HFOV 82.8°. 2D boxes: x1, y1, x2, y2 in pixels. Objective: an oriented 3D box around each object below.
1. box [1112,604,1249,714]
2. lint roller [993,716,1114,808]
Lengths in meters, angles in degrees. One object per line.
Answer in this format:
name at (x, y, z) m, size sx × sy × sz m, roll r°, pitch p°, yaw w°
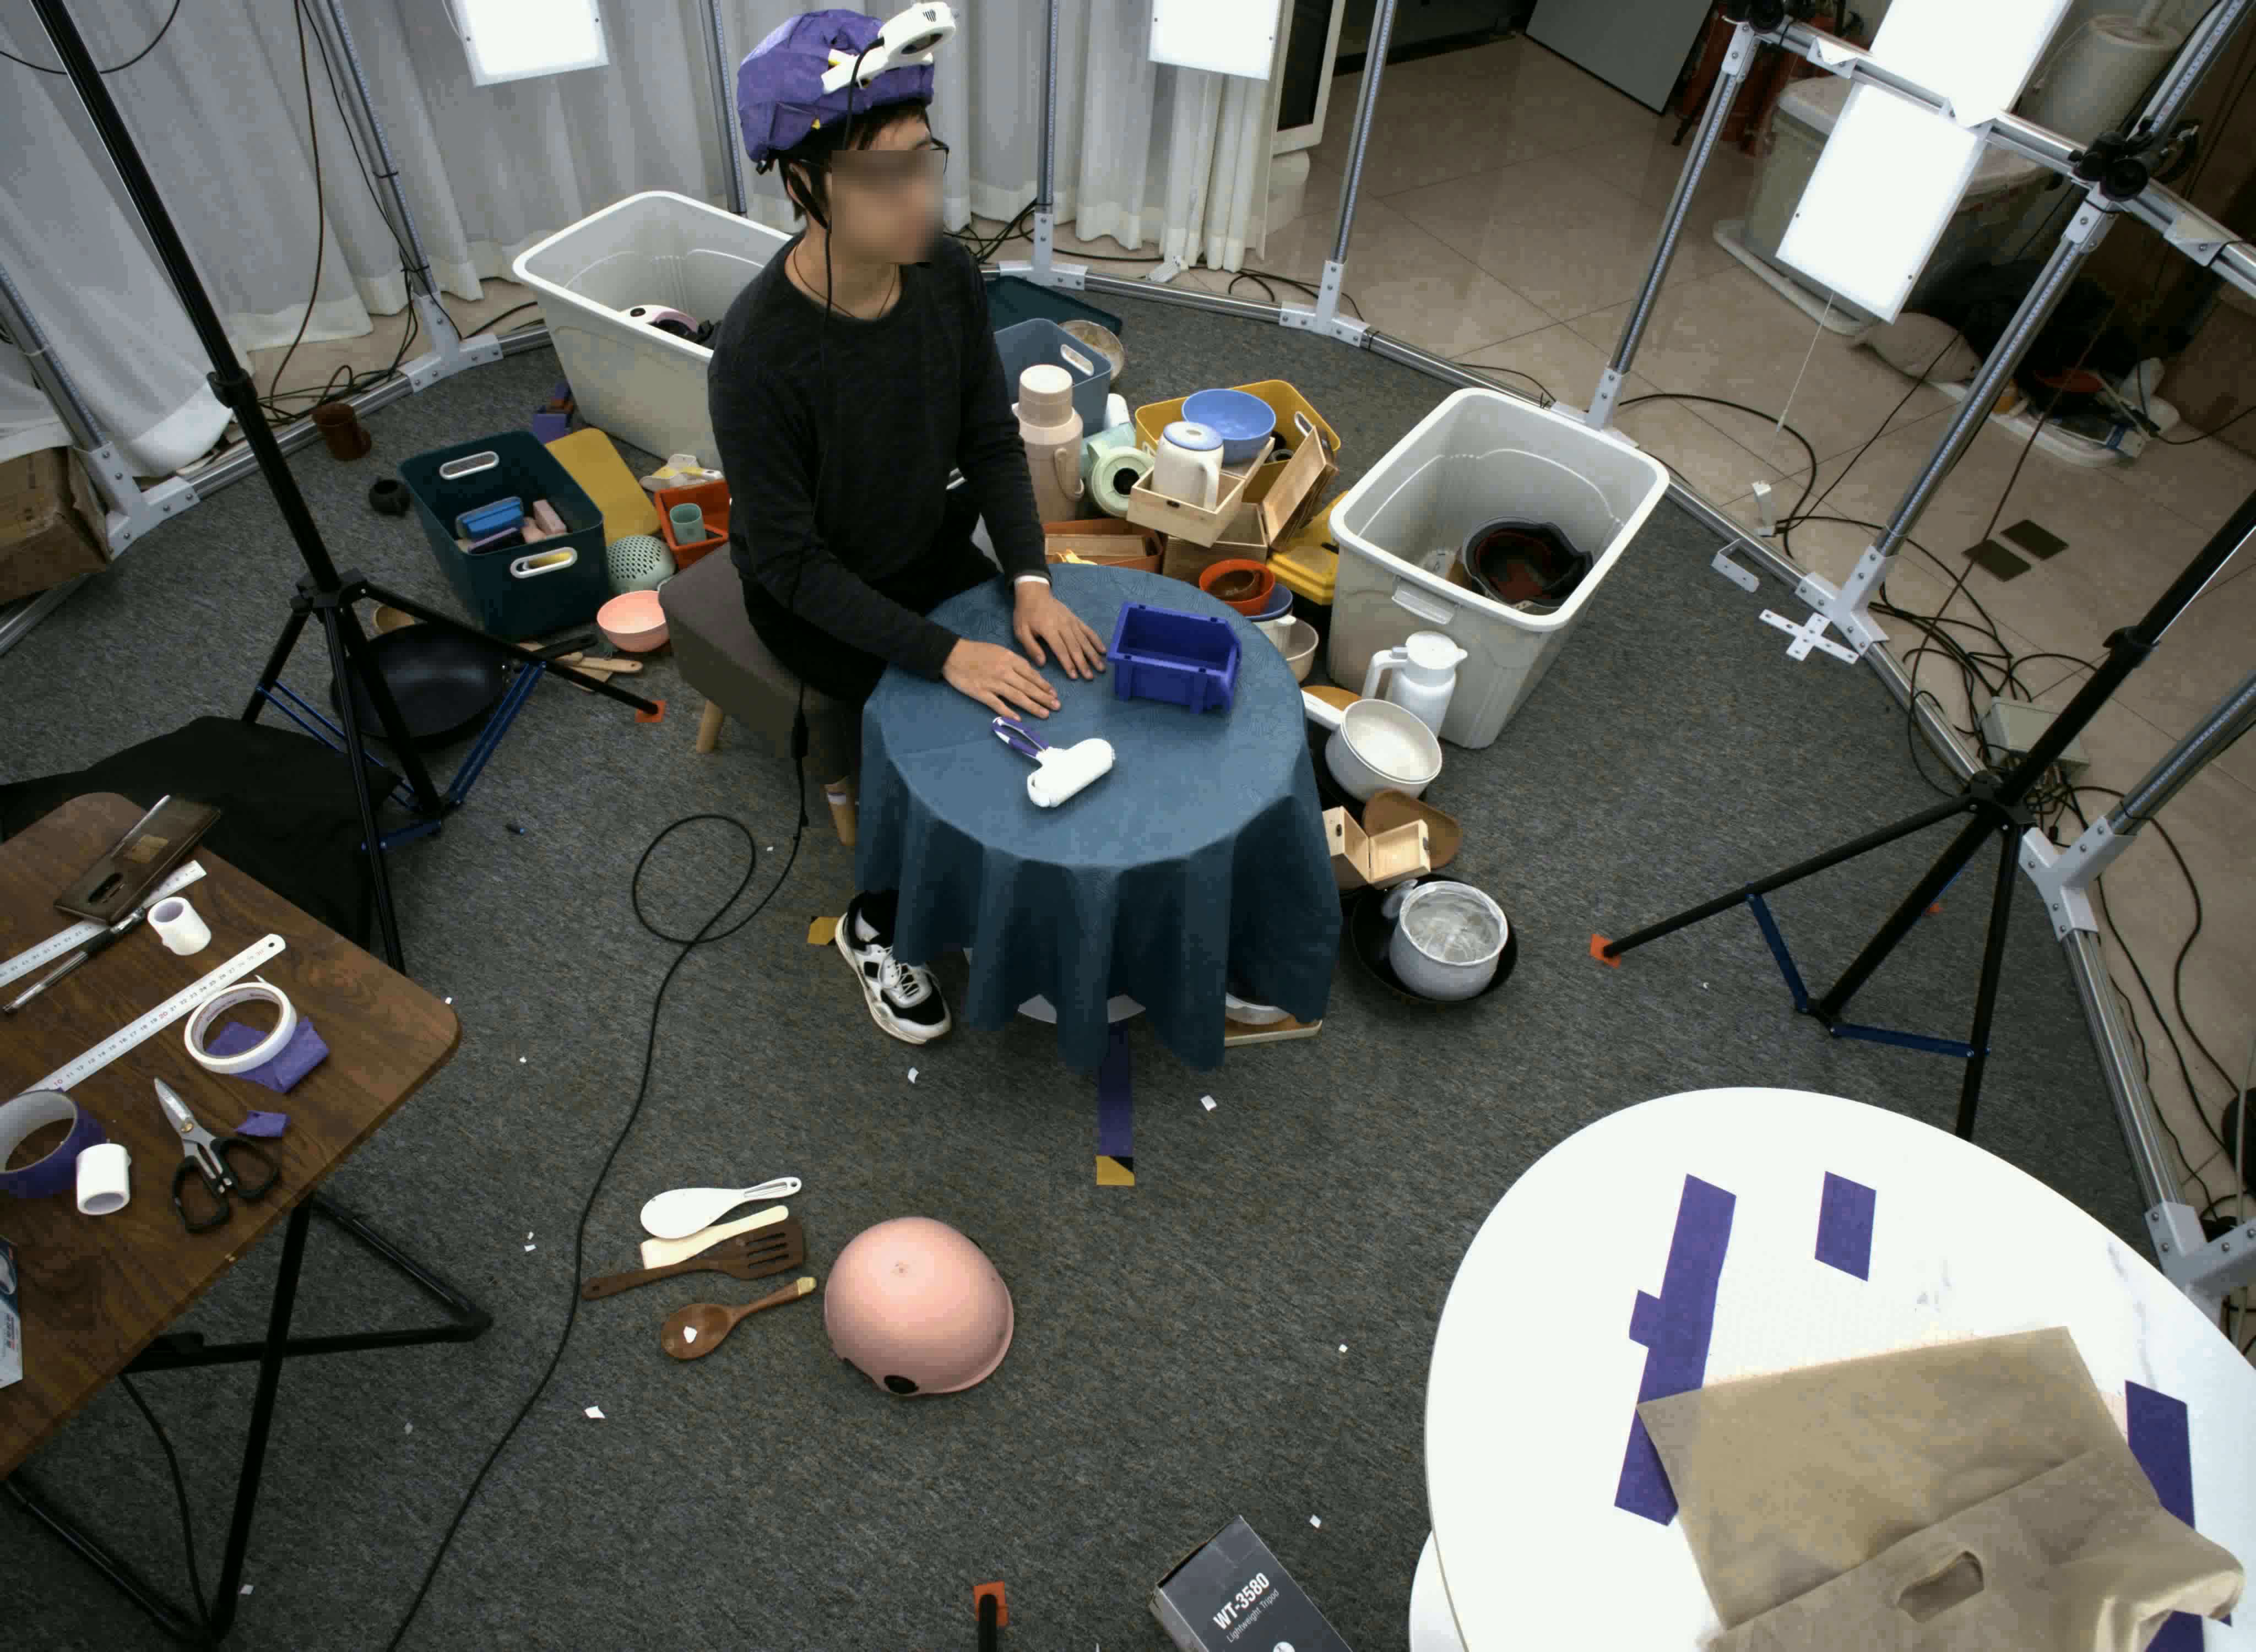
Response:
box at (0.078, -0.237, 1.828) m, size 0.180 × 0.080 × 0.127 m, roll 10°, pitch 49°, yaw 8°
lint roller at (-0.117, -0.108, 1.726) m, size 0.134 × 0.049 × 0.183 m, roll -34°, pitch 61°, yaw -27°
